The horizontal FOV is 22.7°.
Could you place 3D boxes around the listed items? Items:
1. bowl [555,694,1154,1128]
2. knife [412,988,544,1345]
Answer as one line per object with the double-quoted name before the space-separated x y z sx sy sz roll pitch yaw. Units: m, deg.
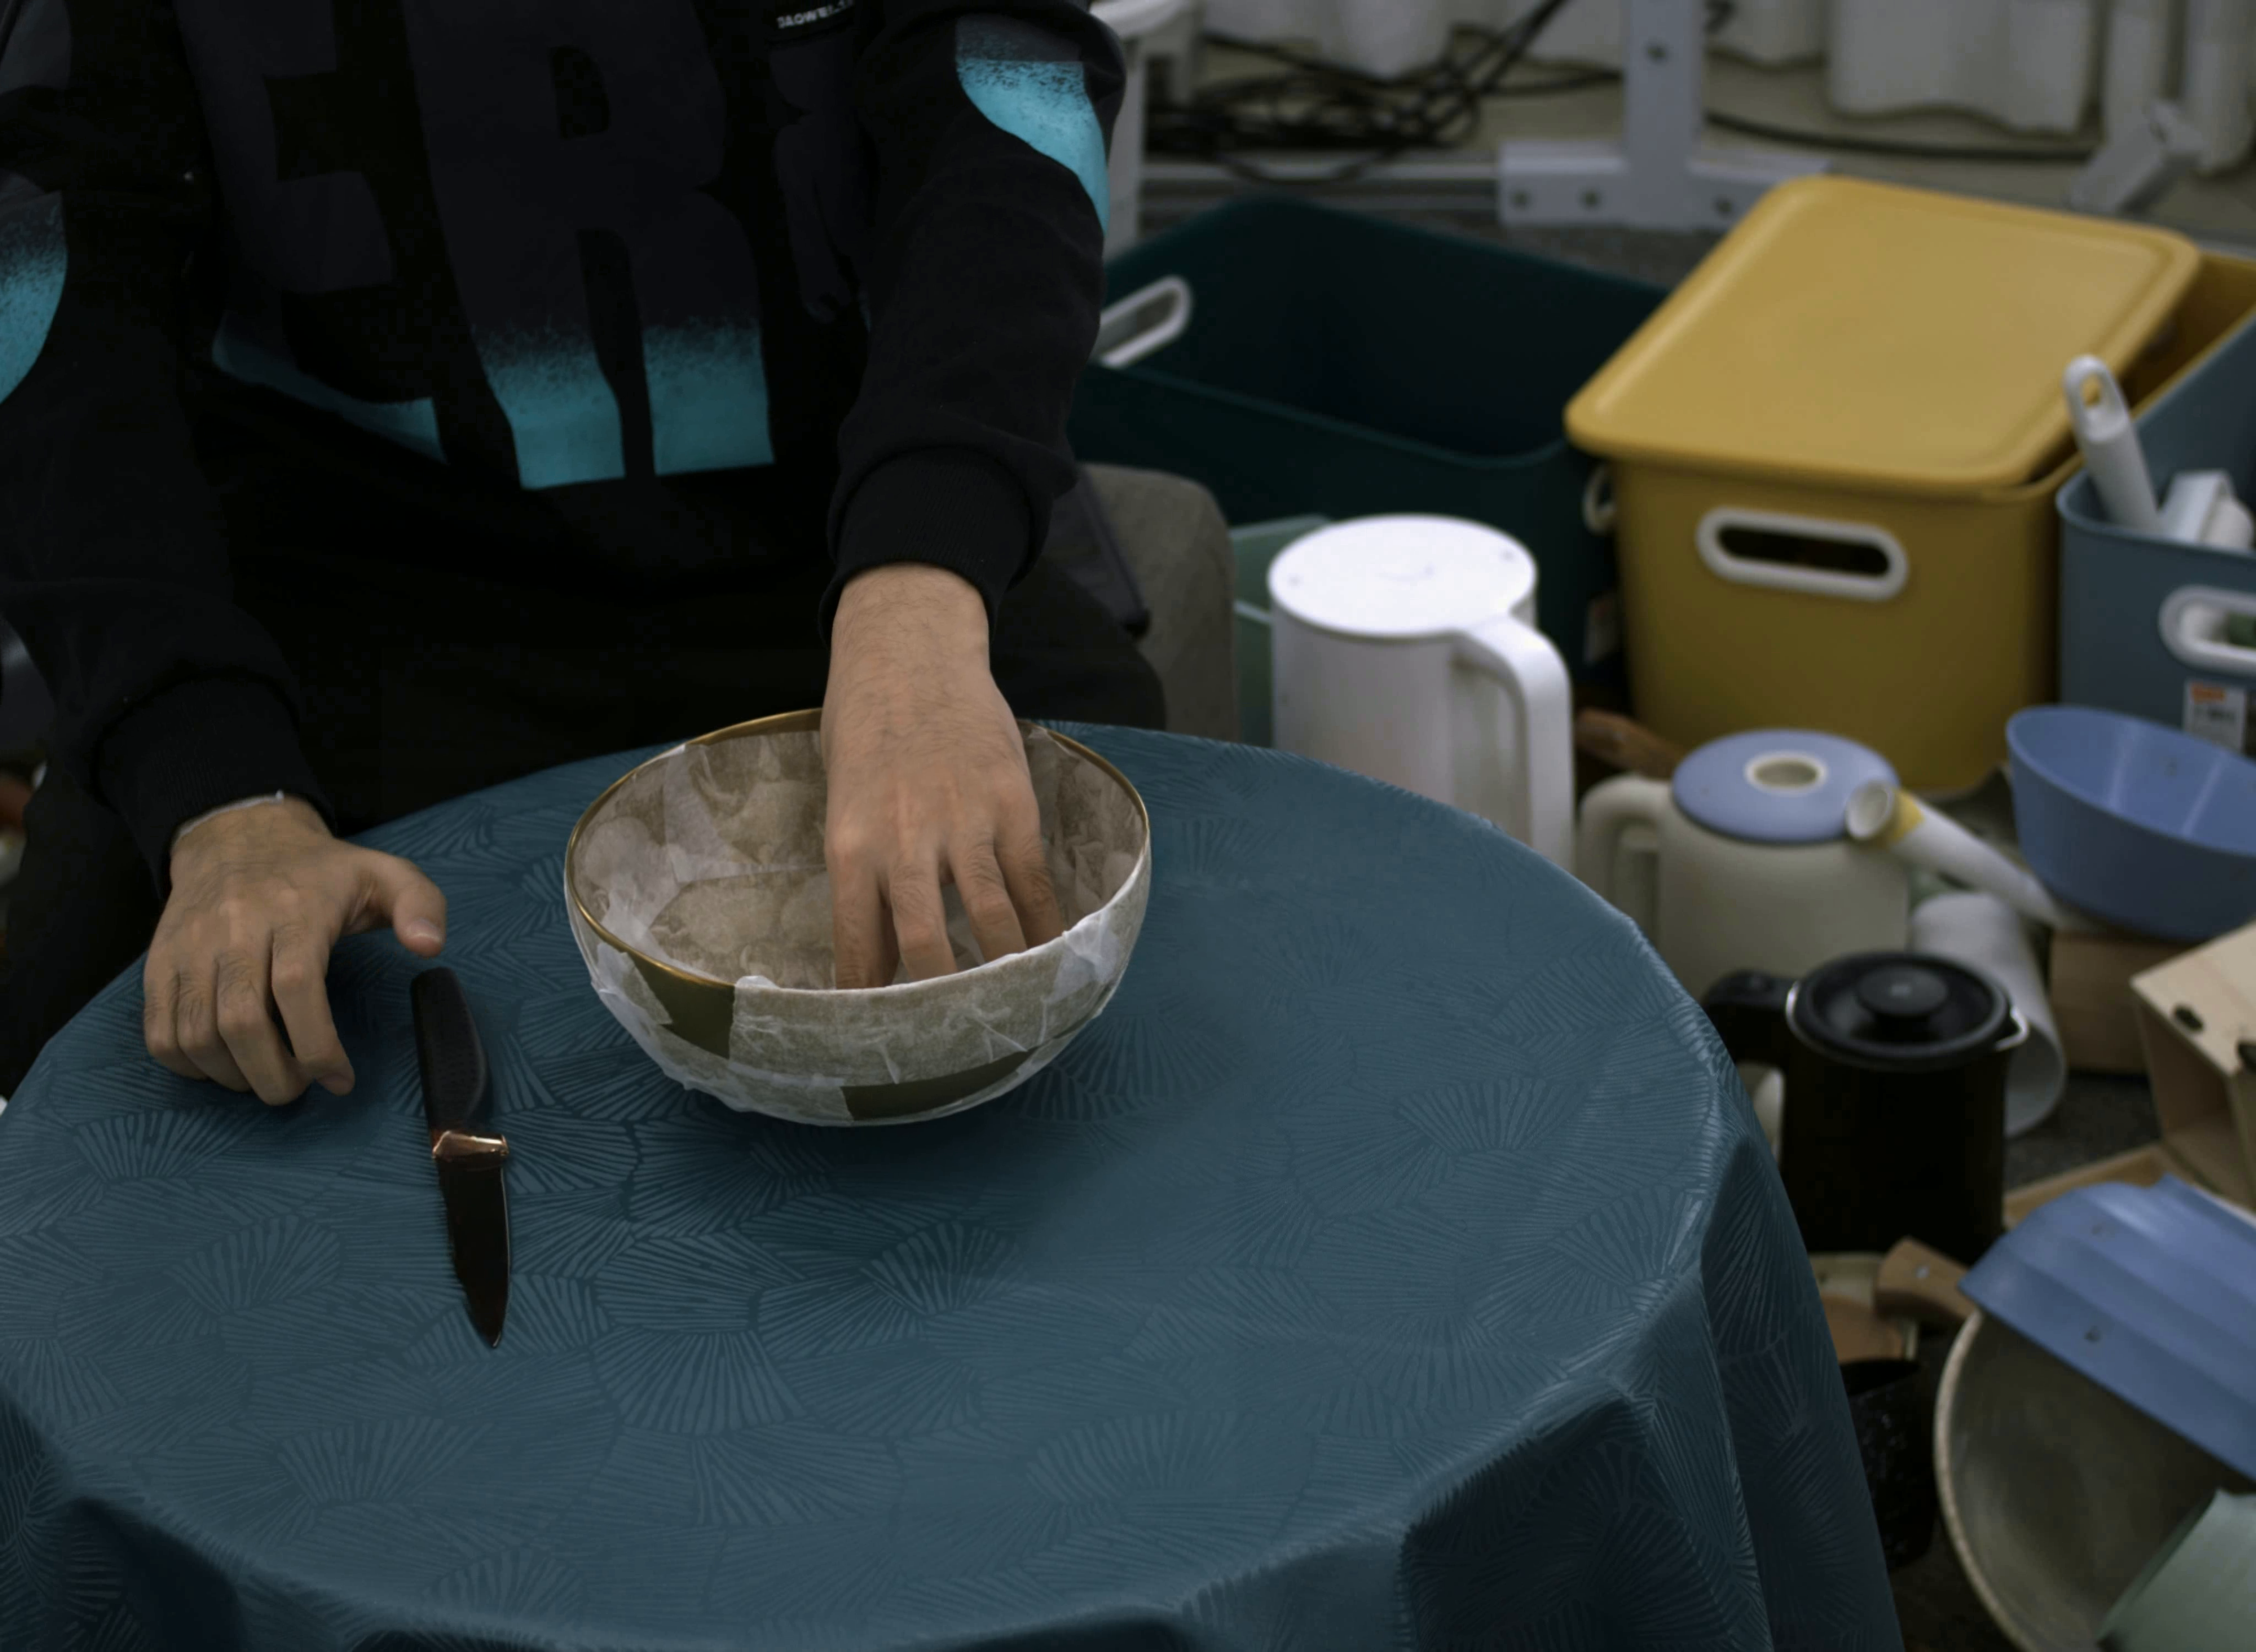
"bowl" -0.089 0.041 1.924 0.213 0.093 0.218 -3 28 2
"knife" -0.220 0.114 1.889 0.026 0.017 0.228 -2 28 -13
